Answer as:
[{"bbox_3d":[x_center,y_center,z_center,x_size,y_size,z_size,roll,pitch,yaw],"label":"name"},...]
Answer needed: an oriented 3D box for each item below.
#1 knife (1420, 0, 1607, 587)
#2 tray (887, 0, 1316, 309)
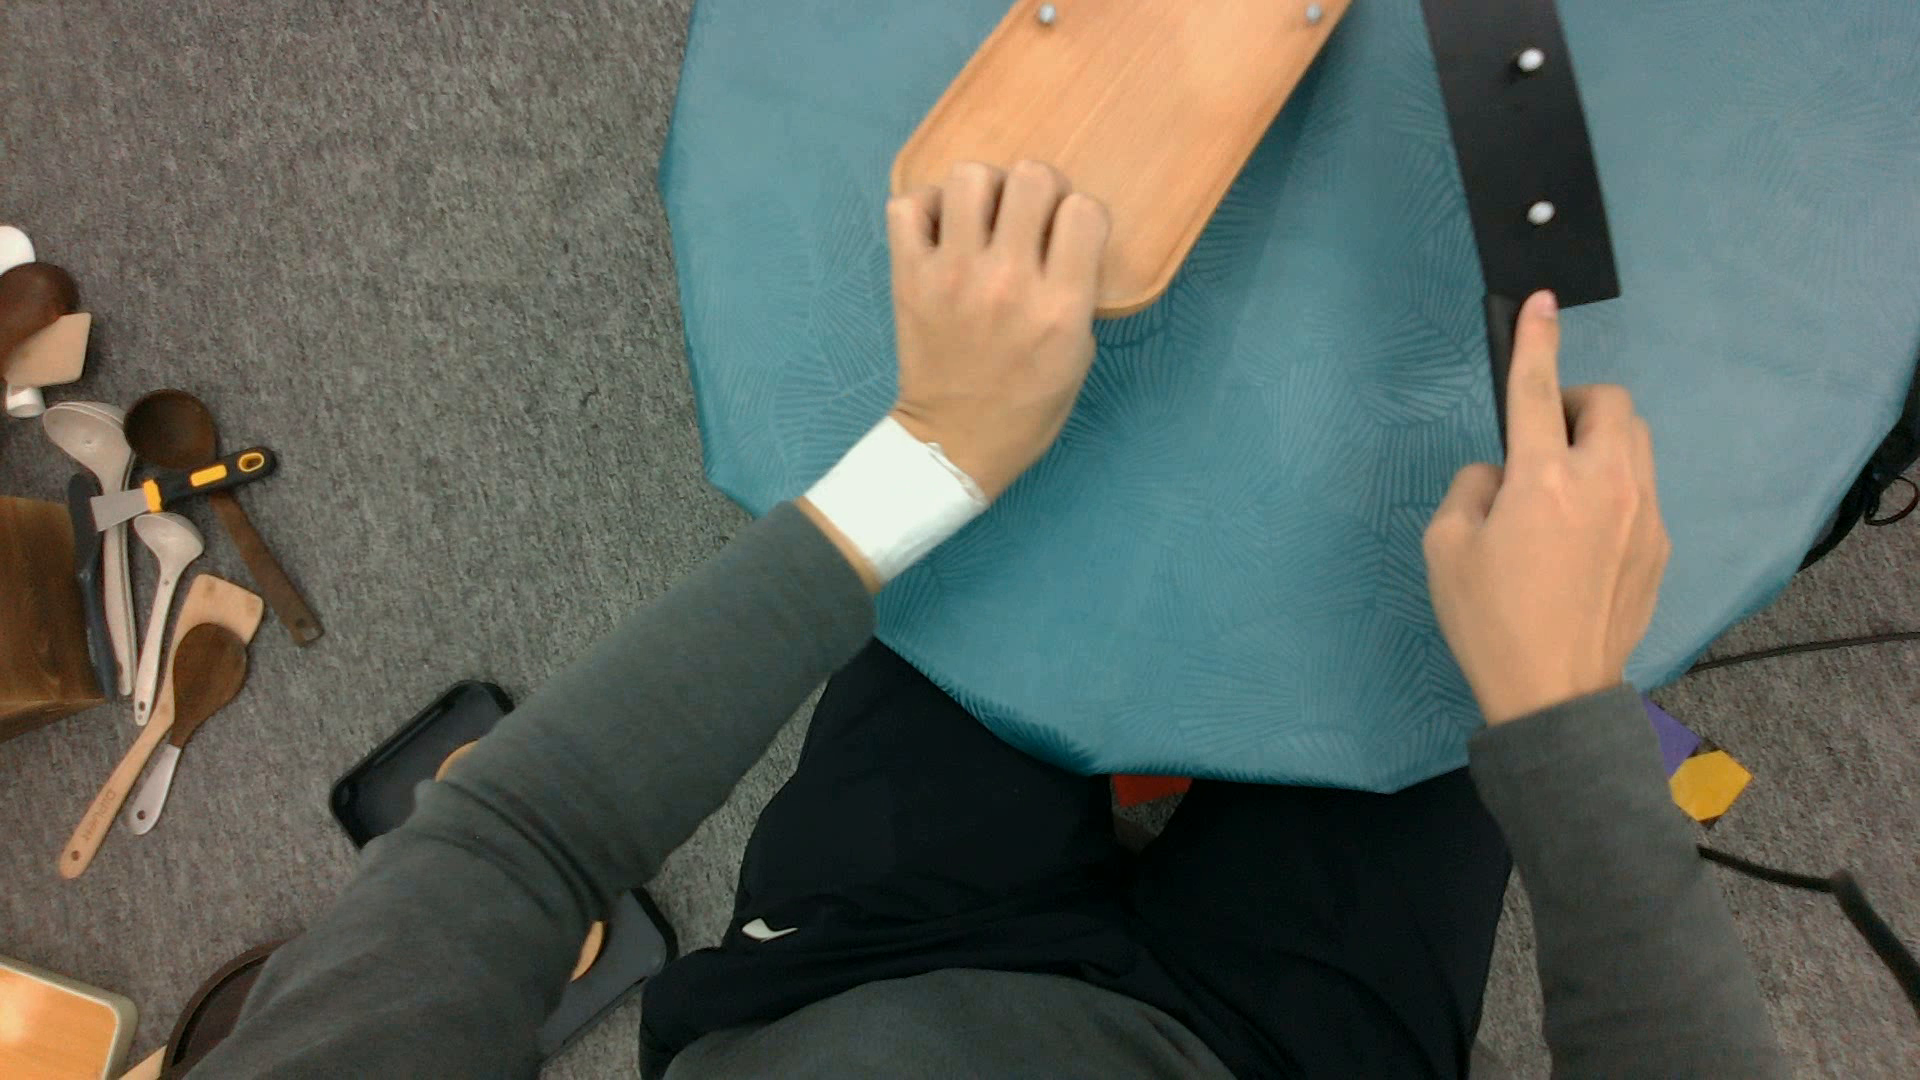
[{"bbox_3d":[0.233,-0.130,0.566,0.081,0.021,0.302,-7,90,-16],"label":"knife"},{"bbox_3d":[0.073,-0.214,0.622,0.130,0.023,0.251,25,69,14],"label":"tray"}]
